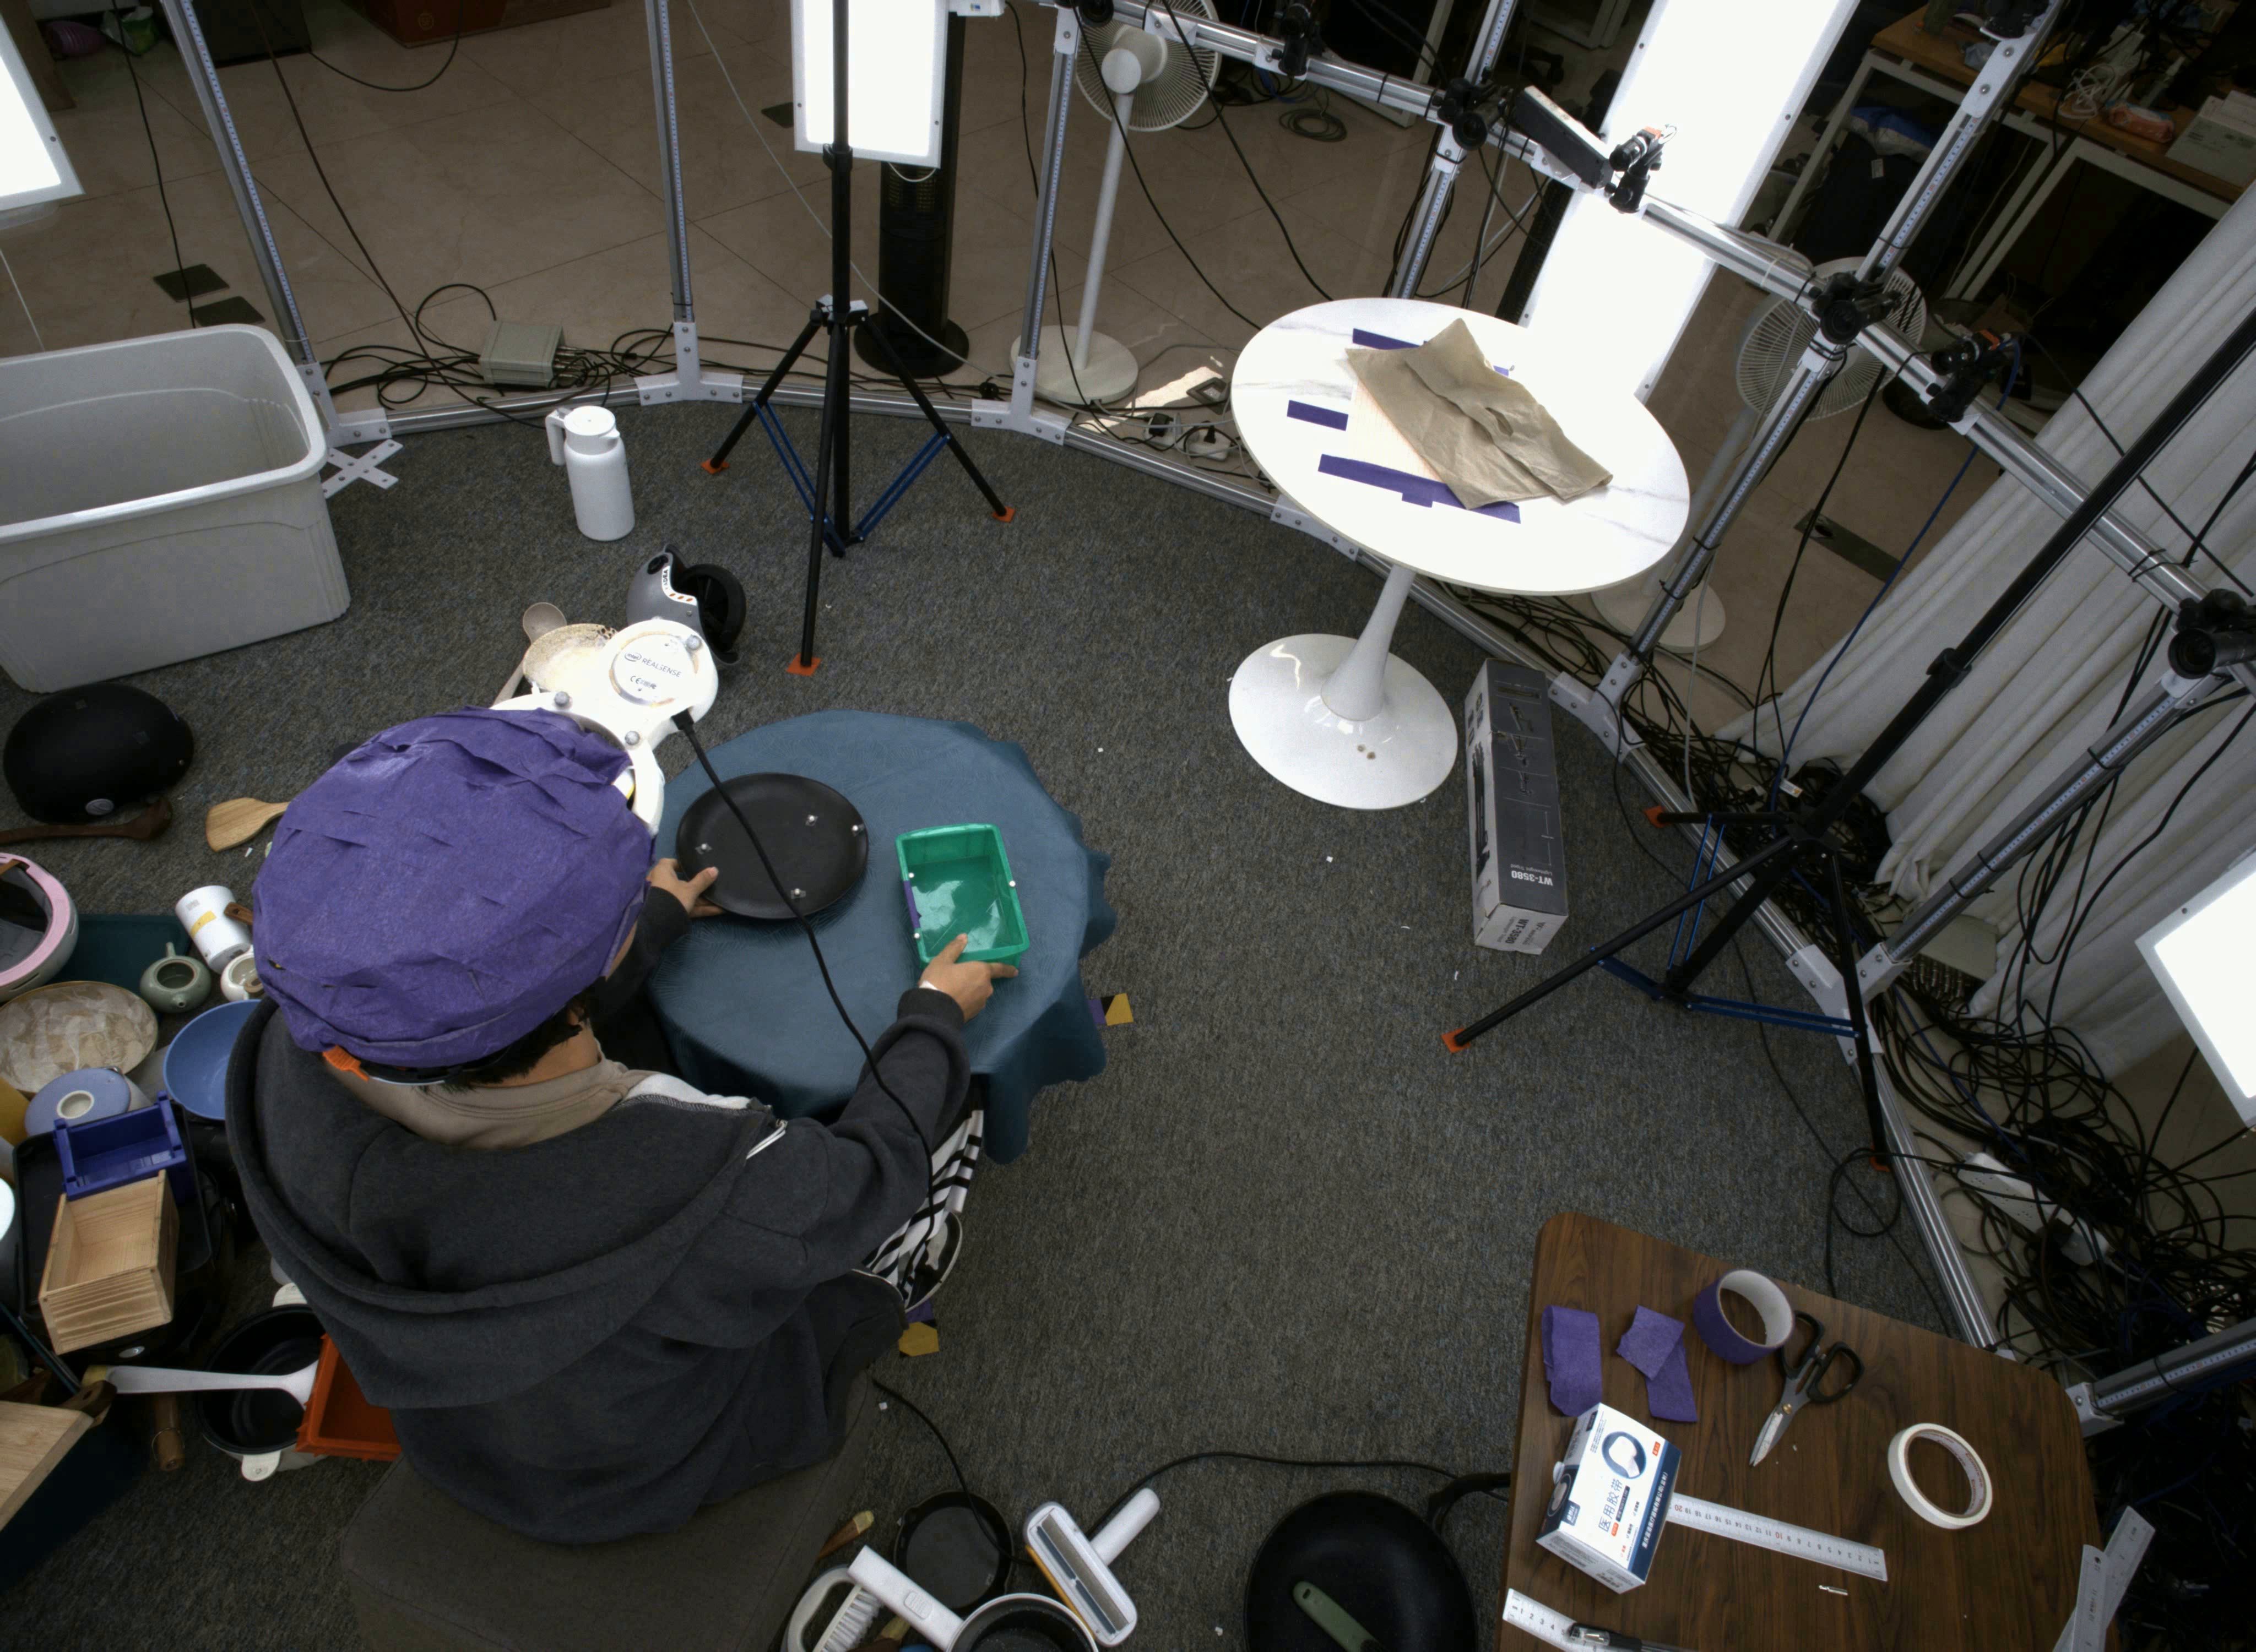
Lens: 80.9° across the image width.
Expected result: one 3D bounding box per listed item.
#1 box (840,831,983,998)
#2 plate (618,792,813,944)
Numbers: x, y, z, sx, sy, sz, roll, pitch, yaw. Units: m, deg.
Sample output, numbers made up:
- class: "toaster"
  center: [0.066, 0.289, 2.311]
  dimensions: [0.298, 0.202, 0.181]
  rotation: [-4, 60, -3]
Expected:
- class: "box"
  center: [-0.275, 0.113, 1.642]
  dimensions: [0.139, 0.066, 0.205]
  rotation: [-12, 60, -20]
- class: "plate"
  center: [-0.524, 0.053, 1.641]
  dimensions: [0.244, 0.024, 0.240]
  rotation: [11, 49, -11]
